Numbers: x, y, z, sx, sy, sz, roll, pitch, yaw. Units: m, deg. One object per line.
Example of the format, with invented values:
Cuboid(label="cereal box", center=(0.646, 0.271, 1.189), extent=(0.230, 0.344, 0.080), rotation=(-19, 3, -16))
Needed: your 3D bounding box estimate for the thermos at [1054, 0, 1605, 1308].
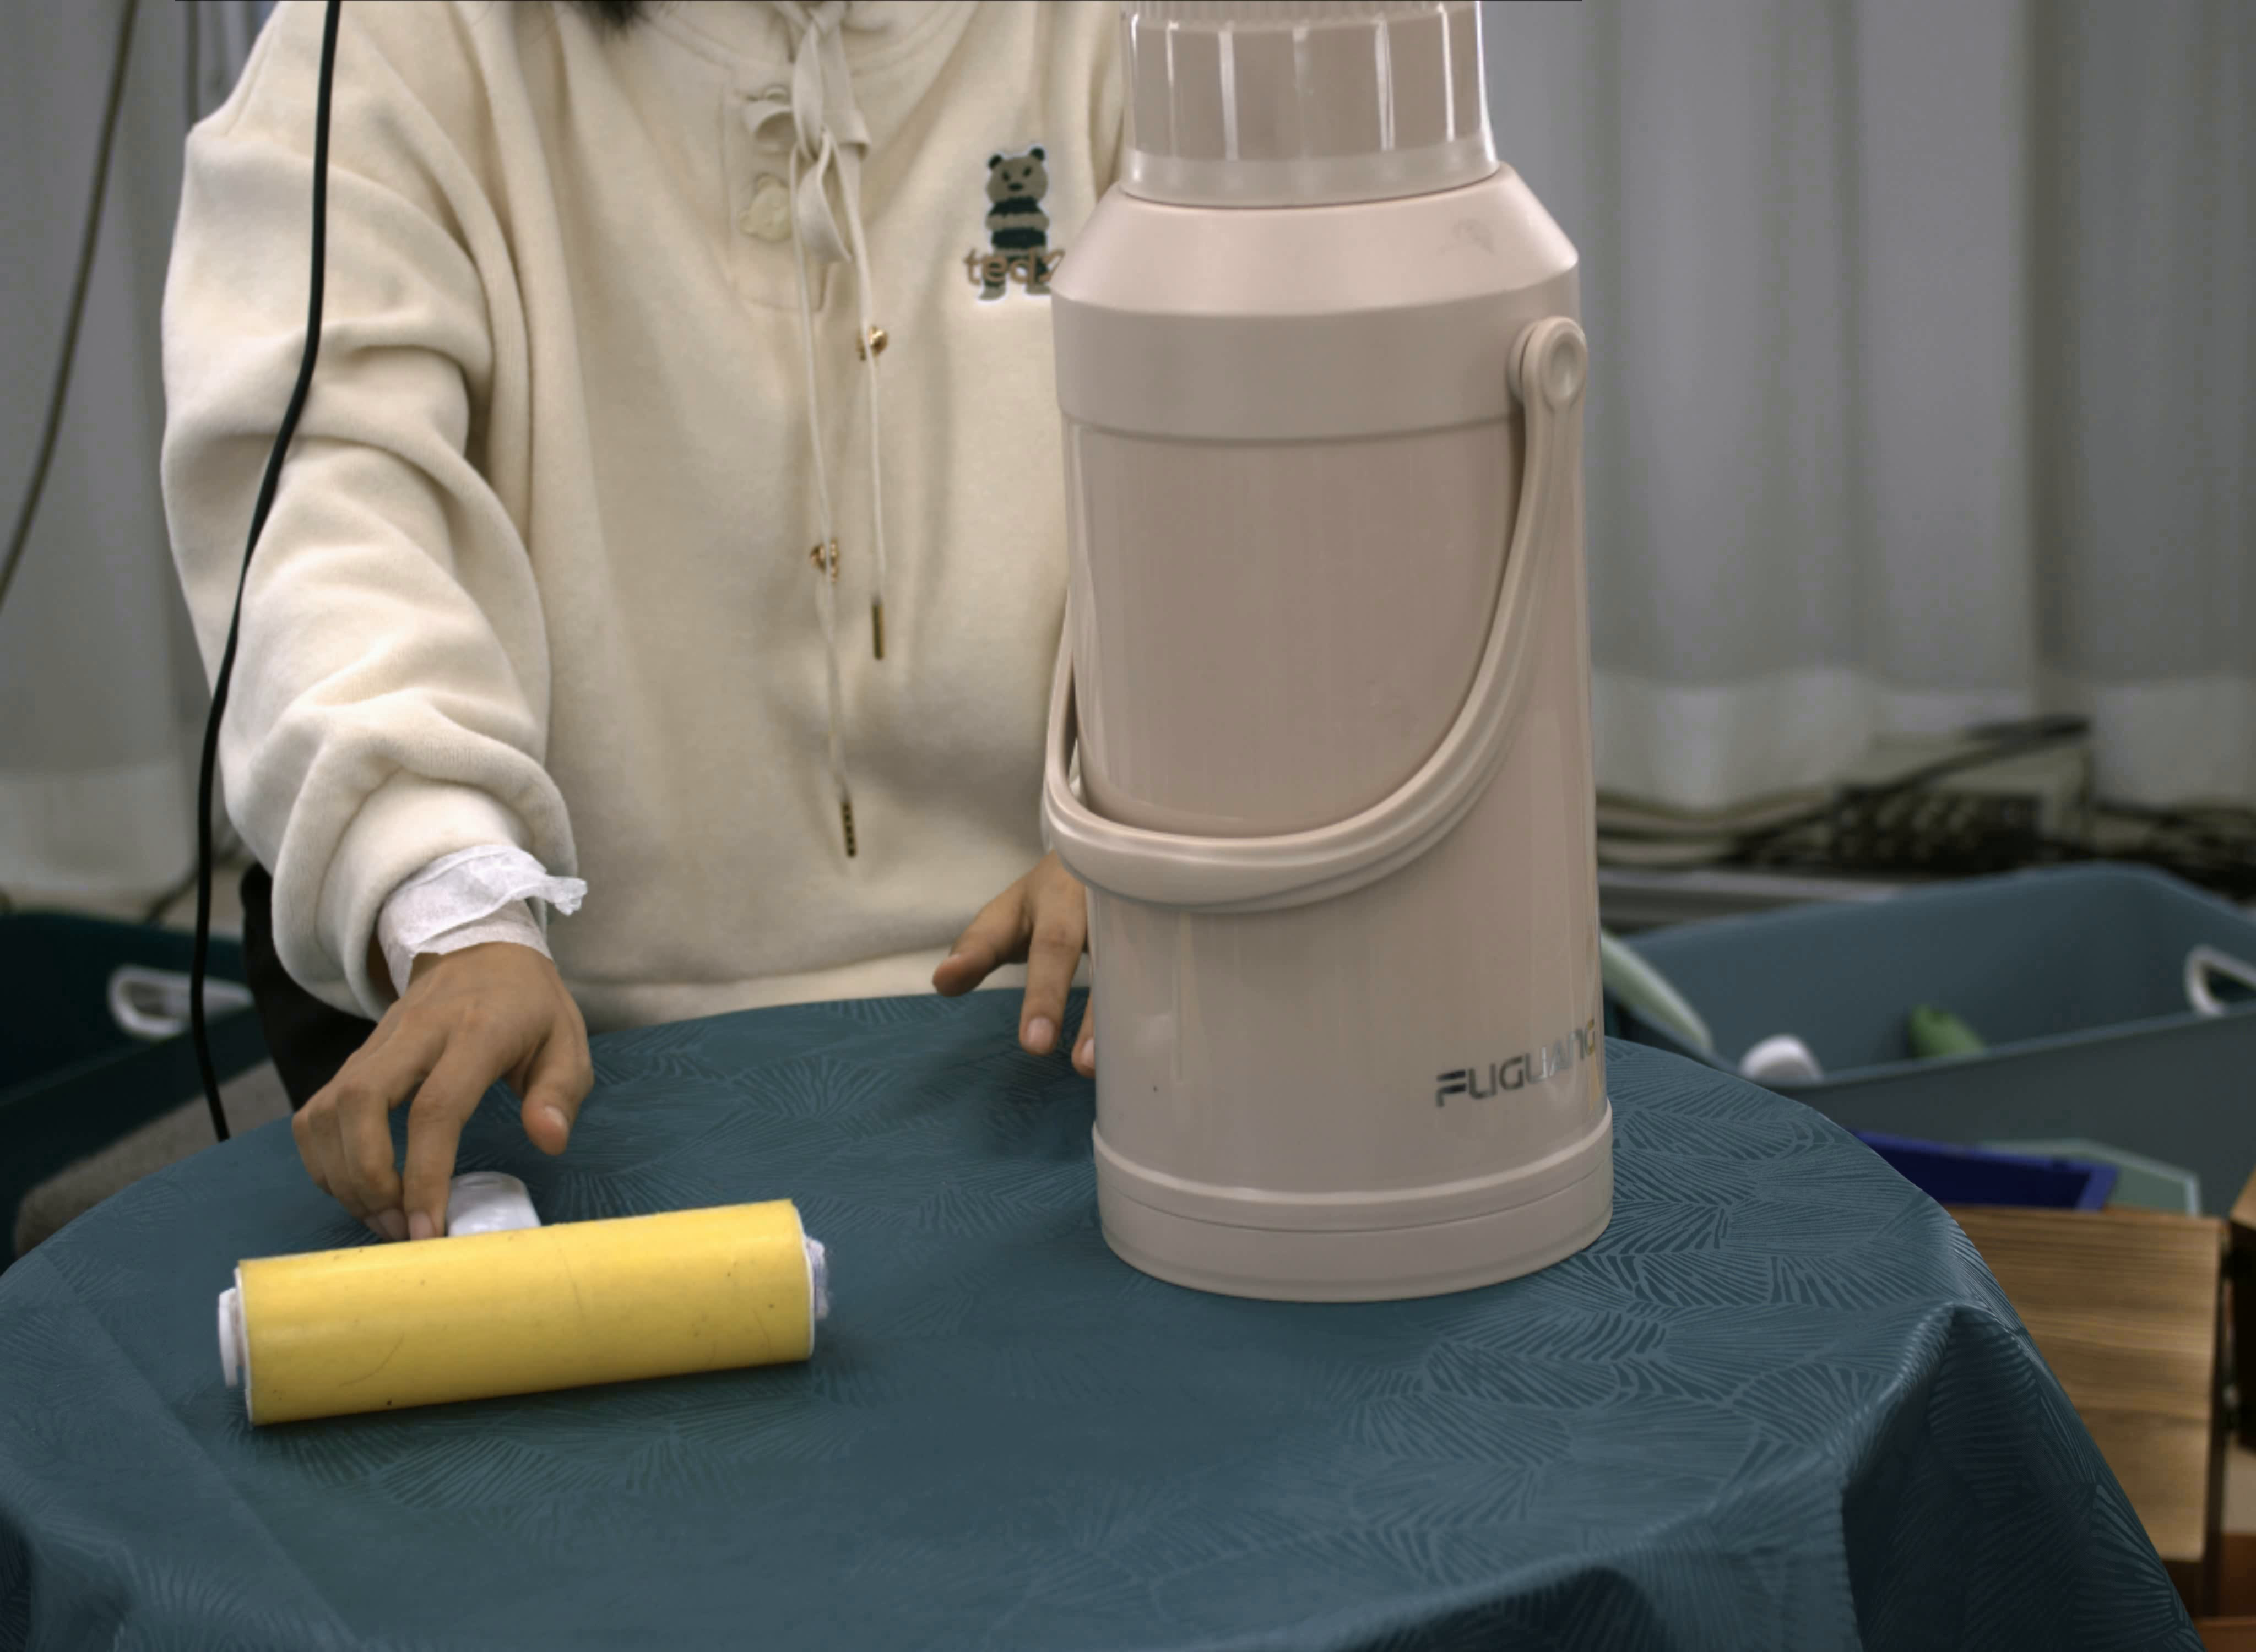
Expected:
Cuboid(label="thermos", center=(0.069, -0.074, 1.643), extent=(0.176, 0.405, 0.207), rotation=(7, 17, 38))

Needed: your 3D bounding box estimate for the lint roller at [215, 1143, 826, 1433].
Cuboid(label="lint roller", center=(-0.189, 0.119, 1.630), extent=(0.173, 0.051, 0.194), rotation=(-6, 22, -11))
